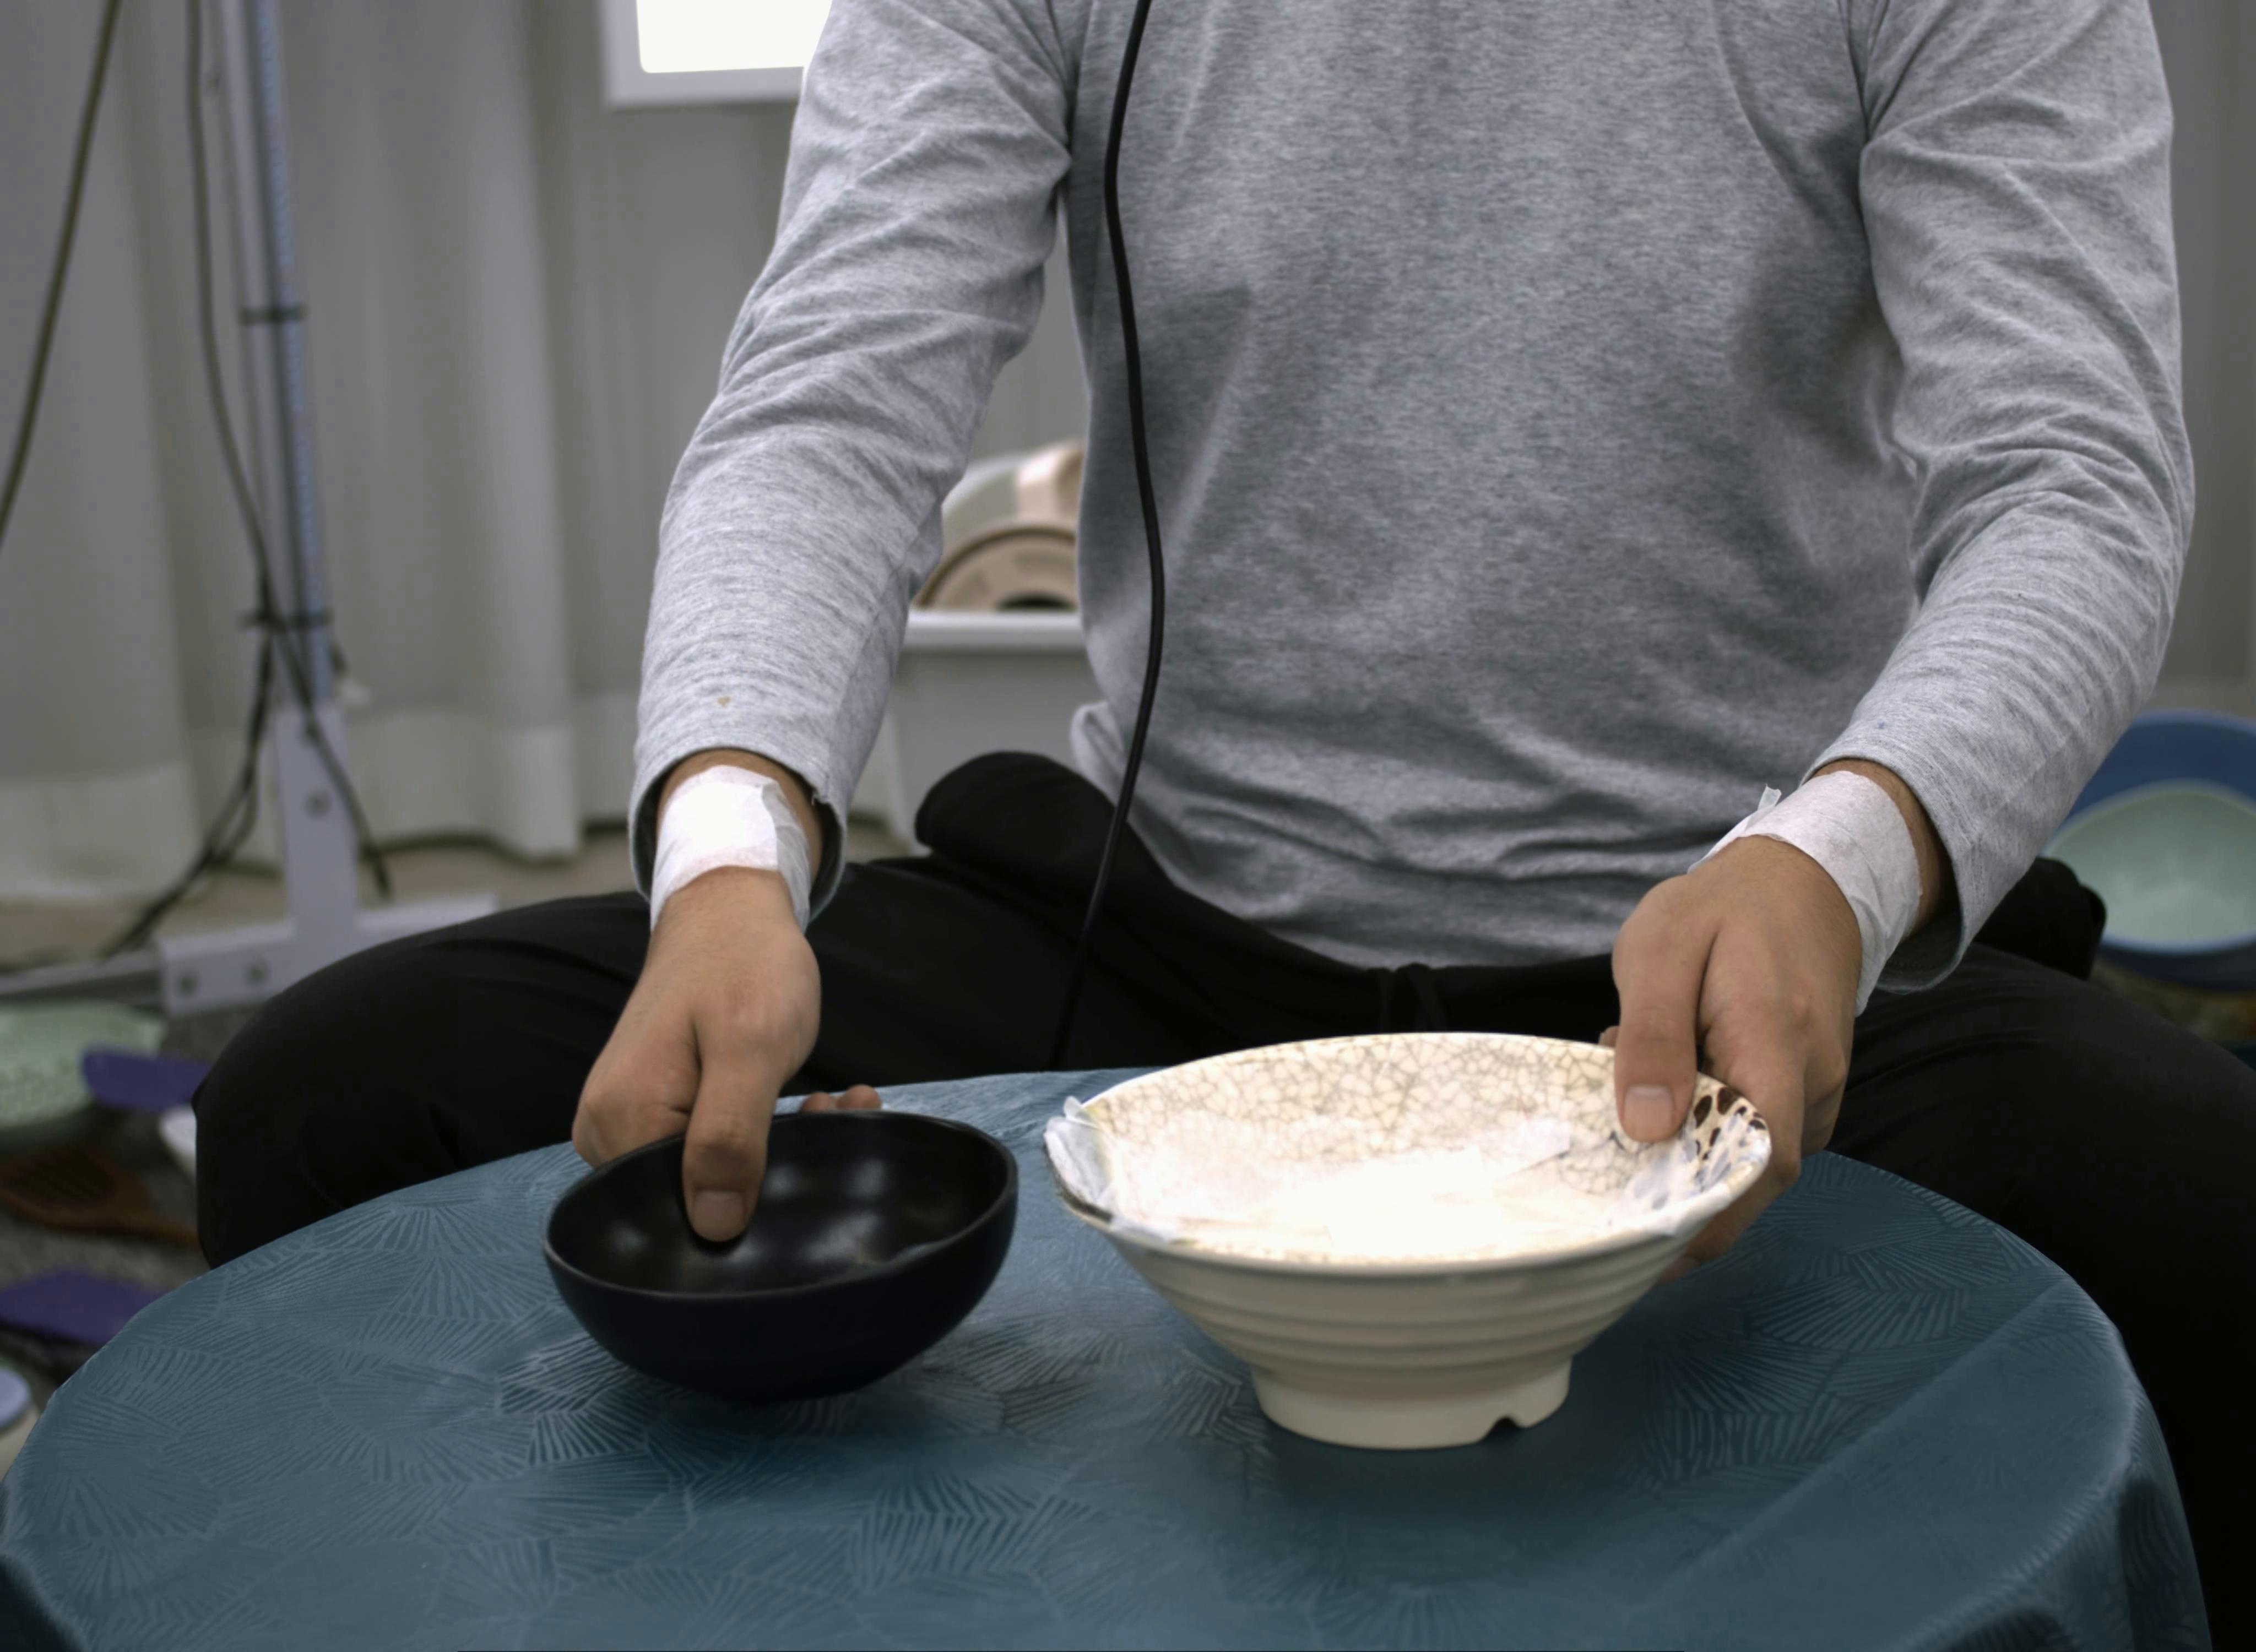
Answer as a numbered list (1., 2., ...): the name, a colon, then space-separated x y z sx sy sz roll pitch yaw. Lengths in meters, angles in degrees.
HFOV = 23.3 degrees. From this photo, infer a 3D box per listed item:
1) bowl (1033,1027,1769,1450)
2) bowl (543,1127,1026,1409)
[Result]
1. bowl: 0.076 0.122 1.522 0.203 0.077 0.205 -2 14 0
2. bowl: -0.096 0.132 1.567 0.139 0.049 0.141 -4 15 1
